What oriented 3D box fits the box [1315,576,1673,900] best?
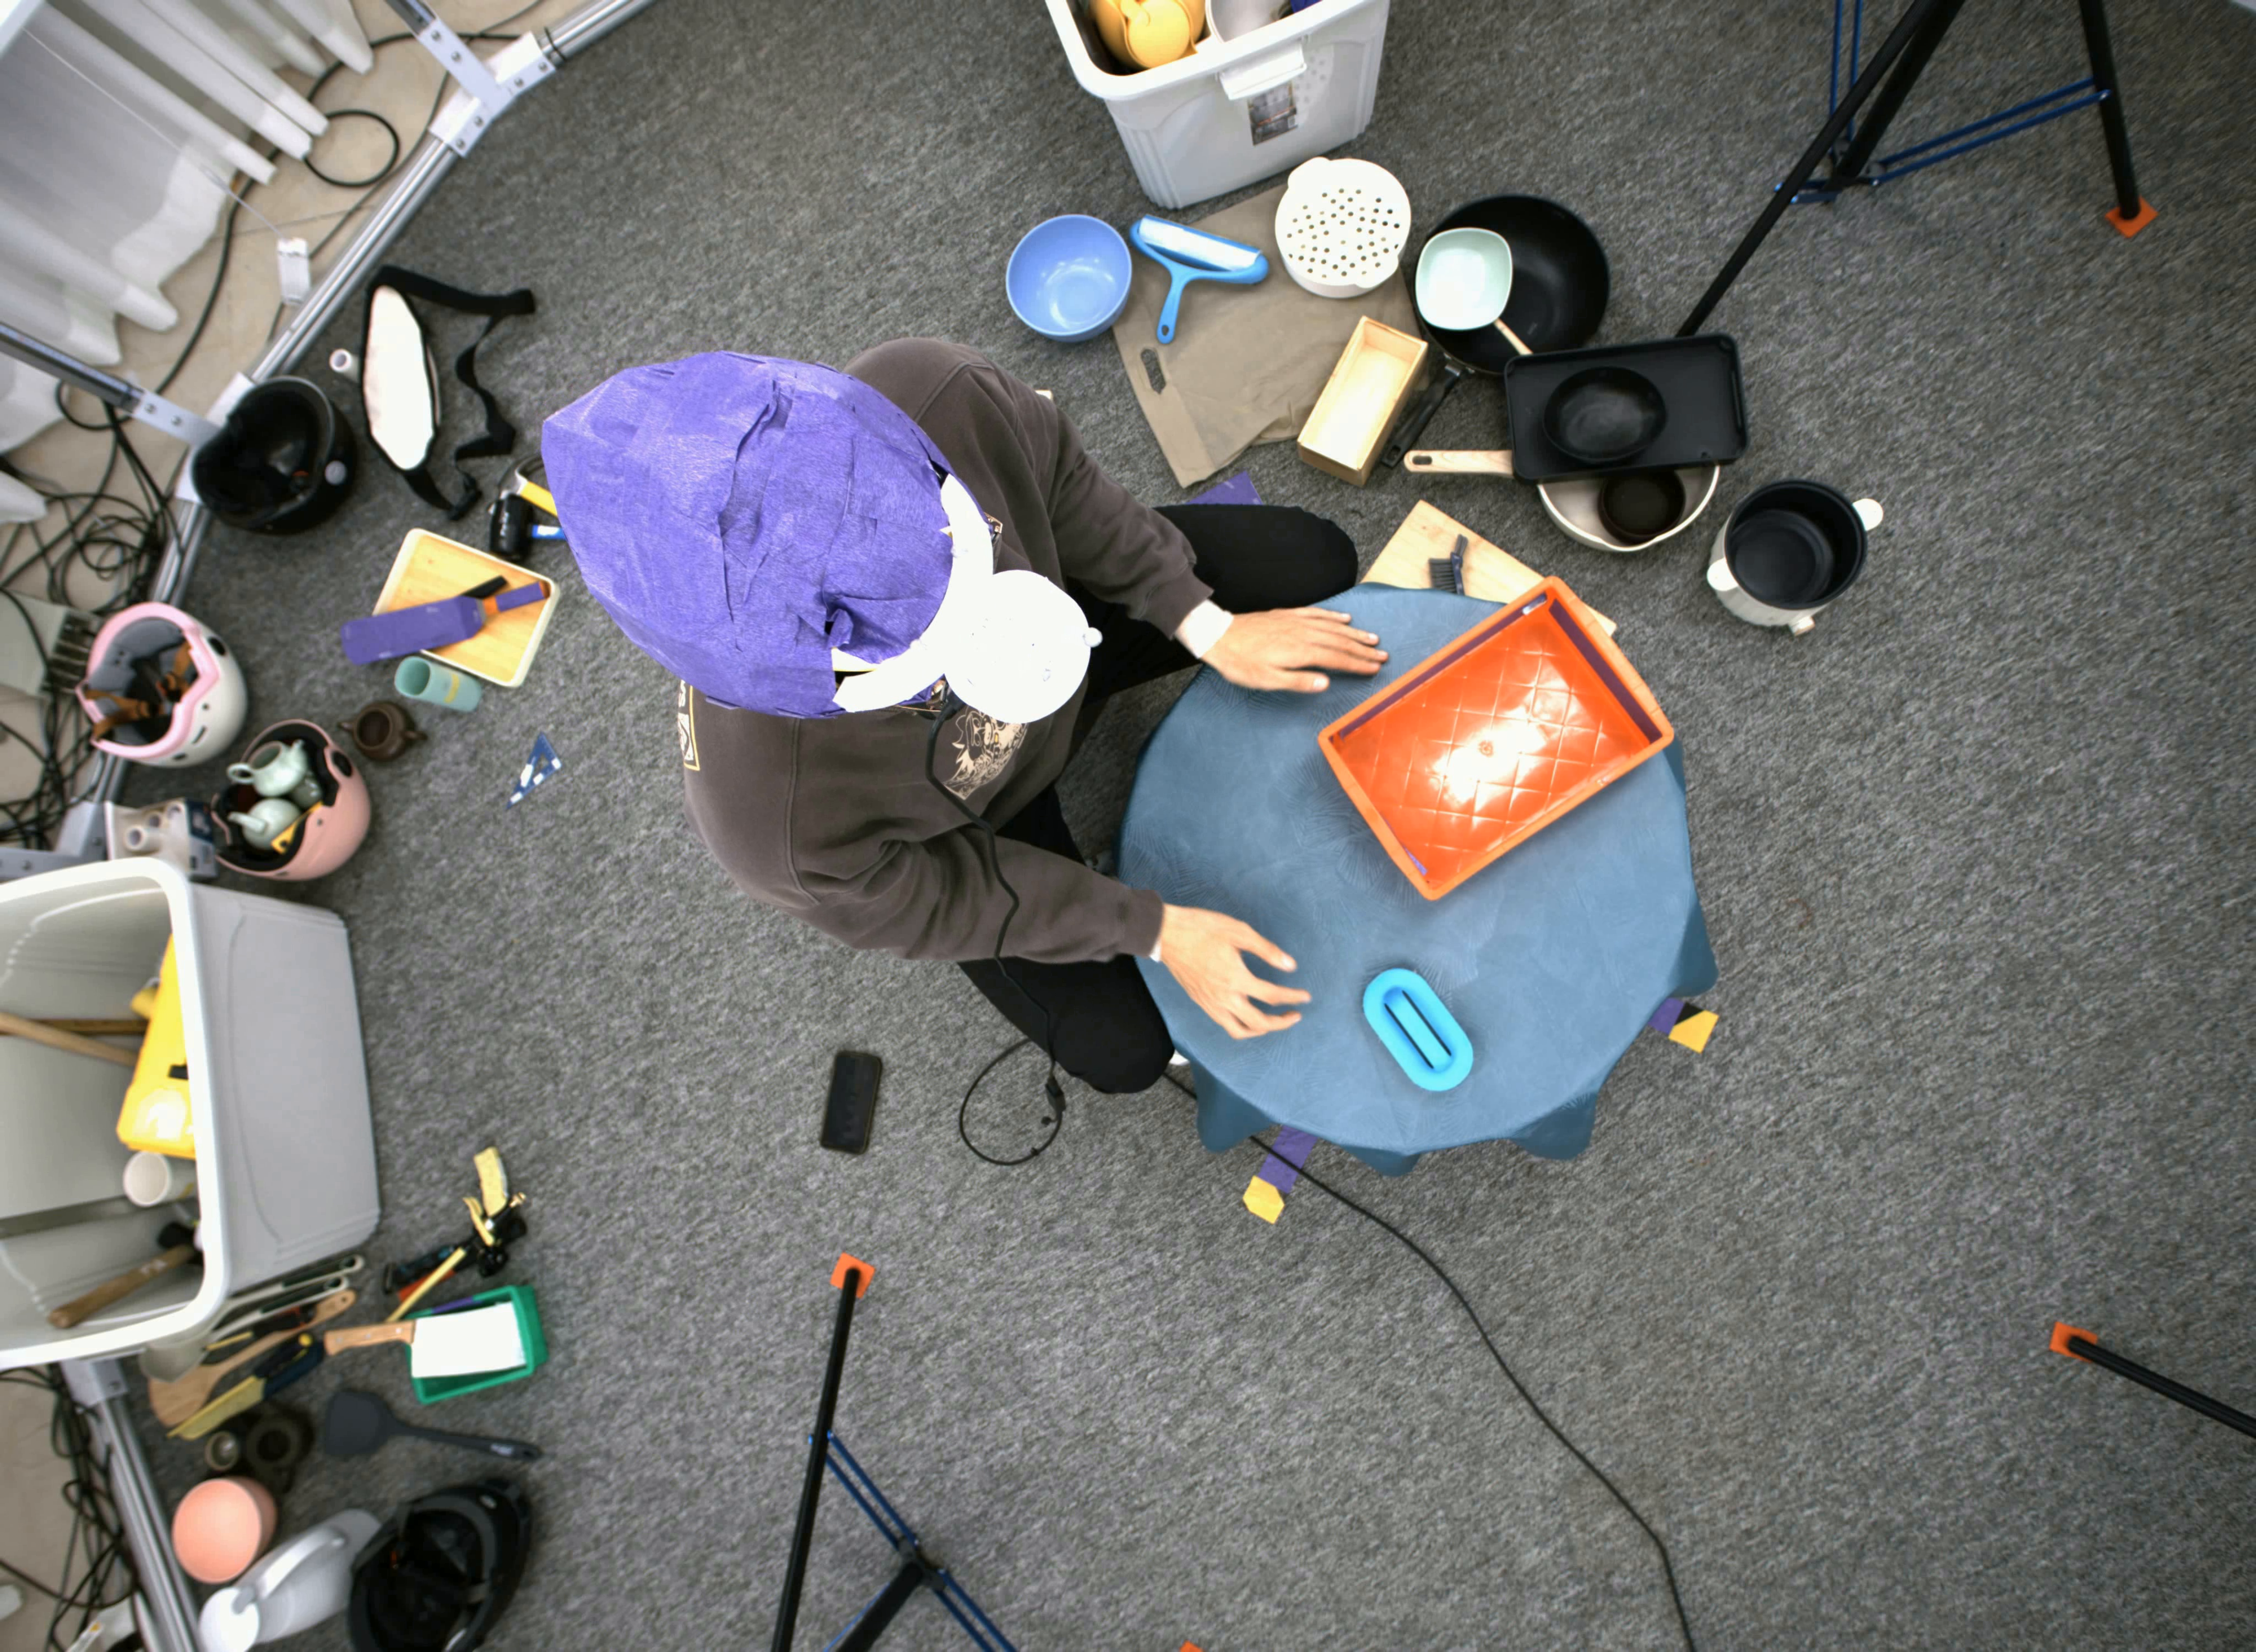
[{"bbox_3d":[0.367,-0.086,1.403,0.305,0.096,0.205,-34,82,7],"label":"box"}]

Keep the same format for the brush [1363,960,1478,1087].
[{"bbox_3d":[0.297,0.203,1.413,0.085,0.063,0.141,-36,80,11],"label":"brush"}]
